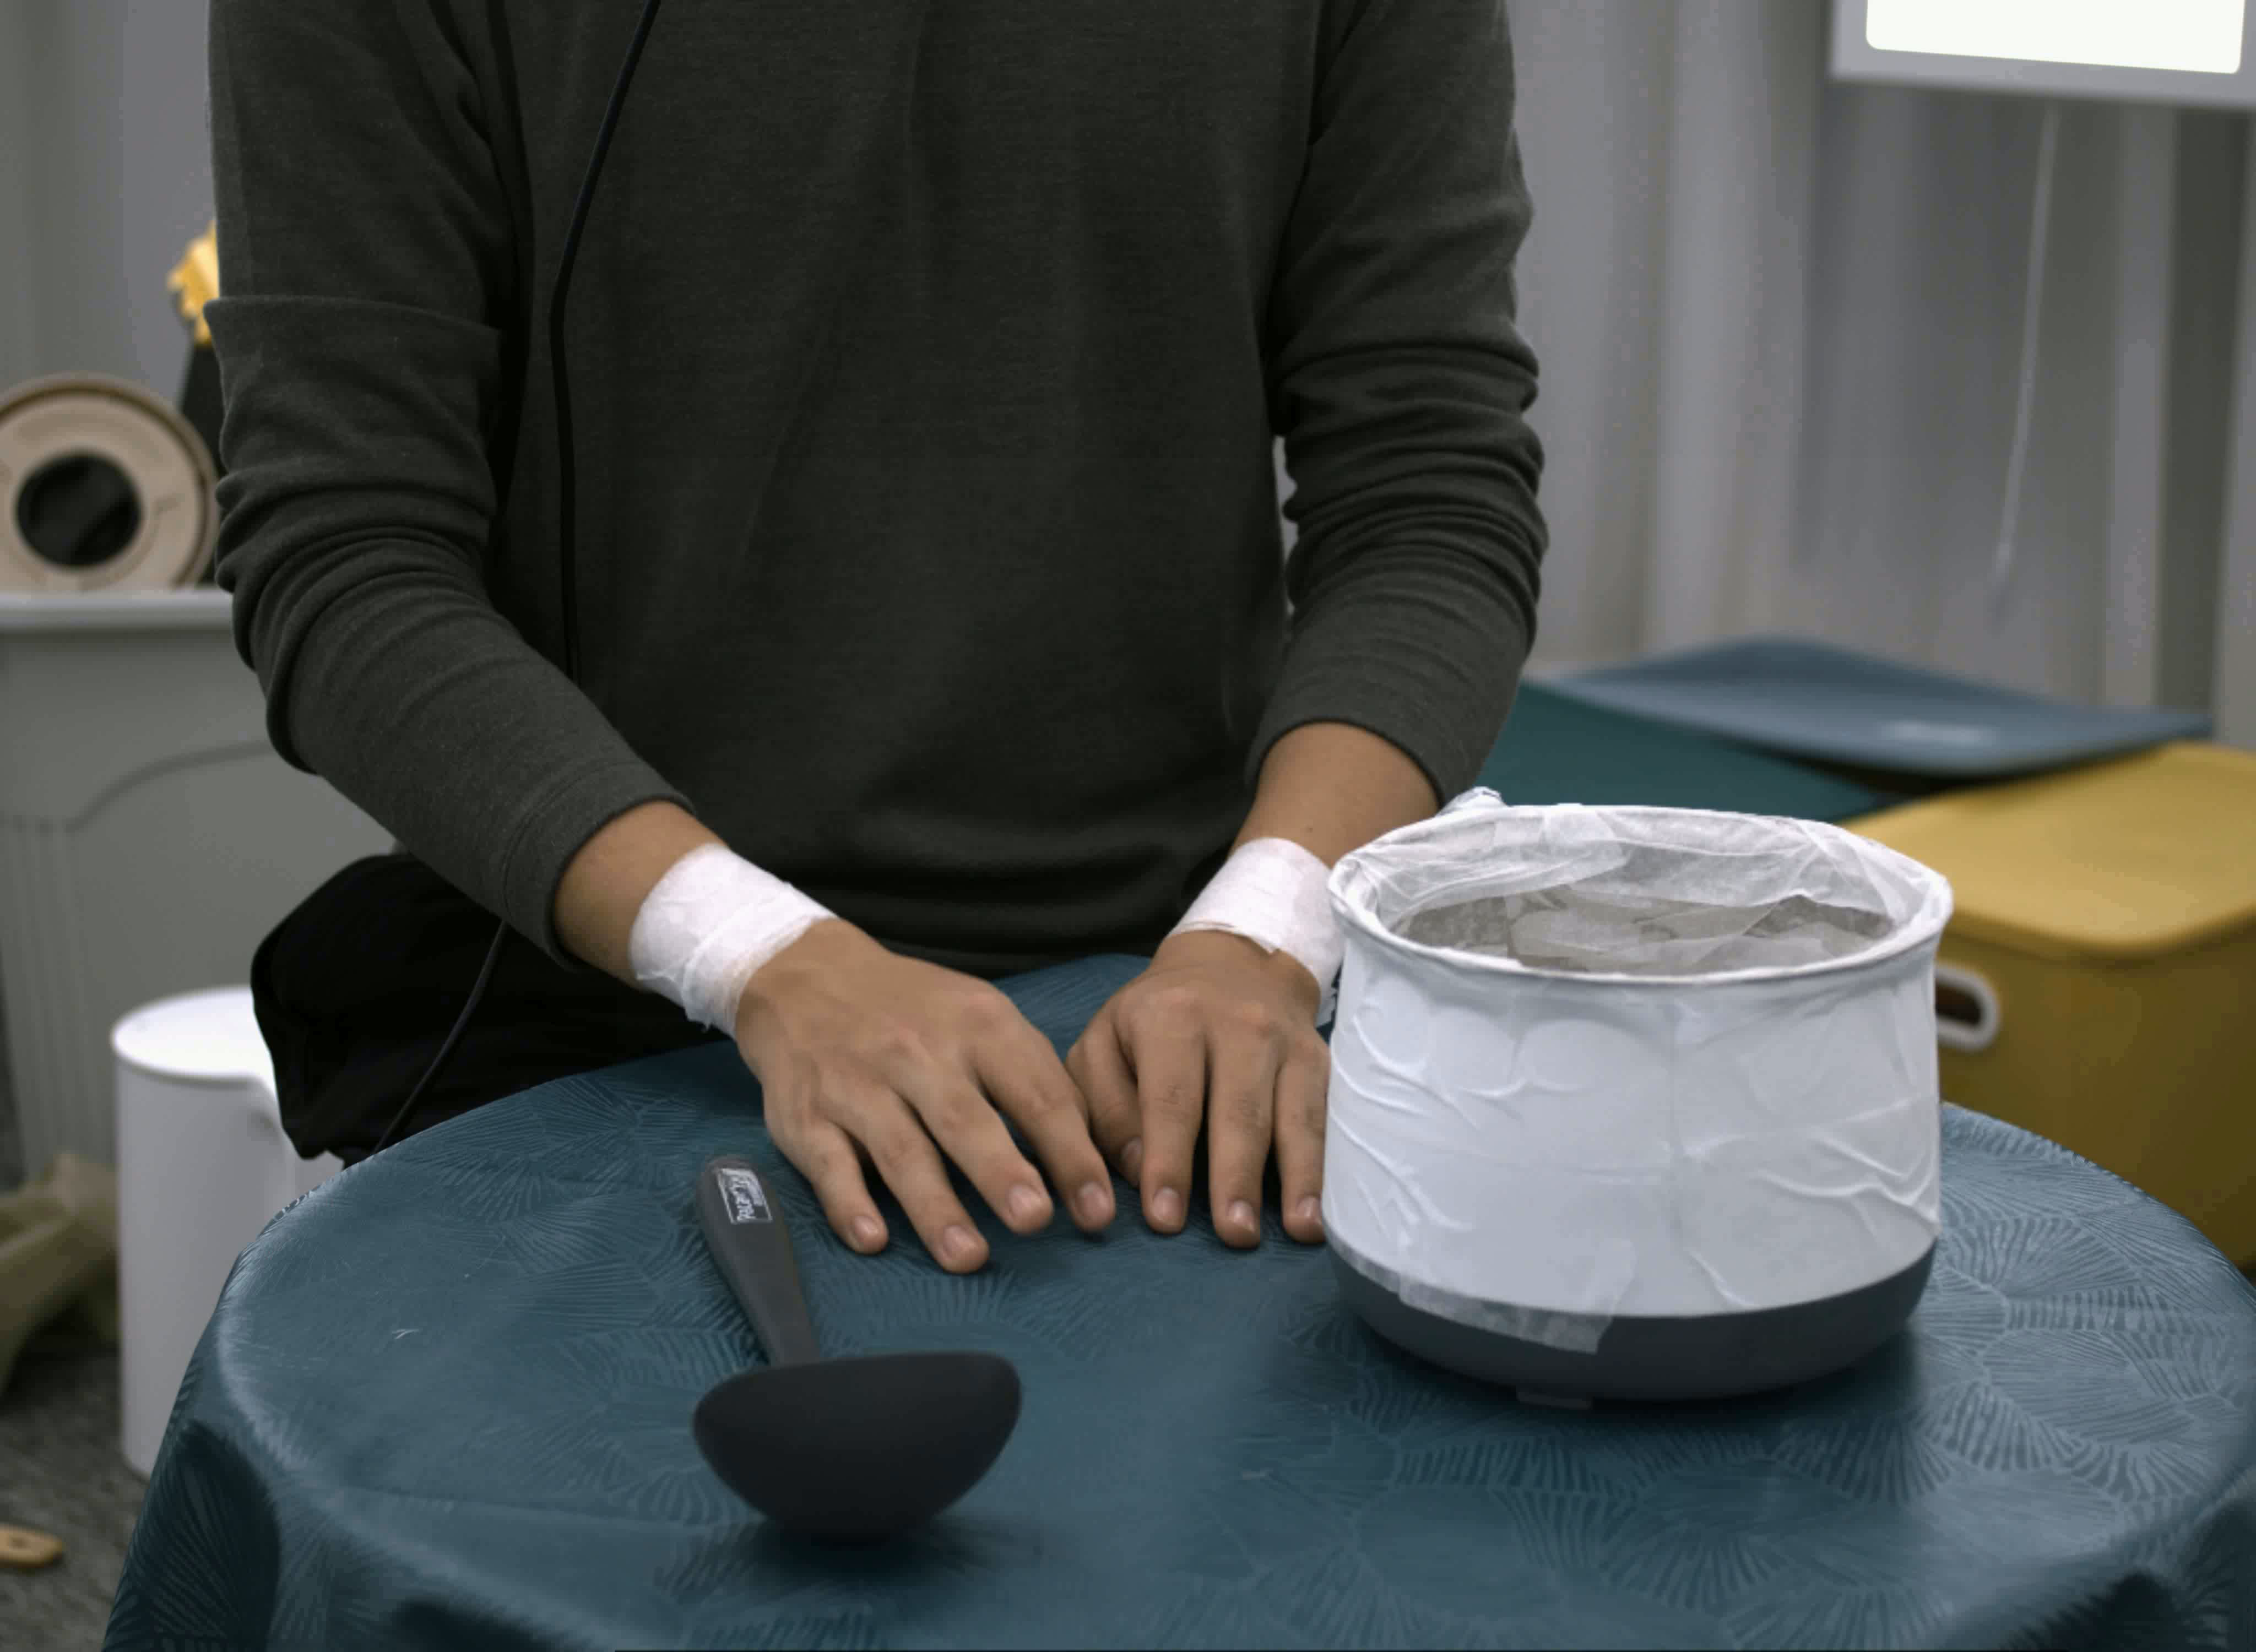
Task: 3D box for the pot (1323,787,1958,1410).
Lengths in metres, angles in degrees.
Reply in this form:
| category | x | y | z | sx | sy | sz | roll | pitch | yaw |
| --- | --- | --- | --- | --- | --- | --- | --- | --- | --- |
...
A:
| category | x | y | z | sx | sy | sz | roll | pitch | yaw |
| --- | --- | --- | --- | --- | --- | --- | --- | --- | --- |
| pot | 0.132 | 0.072 | 1.521 | 0.179 | 0.138 | 0.231 | -7 | 17 | -24 |

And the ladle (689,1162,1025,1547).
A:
| category | x | y | z | sx | sy | sz | roll | pitch | yaw |
| --- | --- | --- | --- | --- | --- | --- | --- | --- | --- |
| ladle | -0.094 | 0.125 | 1.458 | 0.086 | 0.064 | 0.311 | 2 | 15 | -12 |
